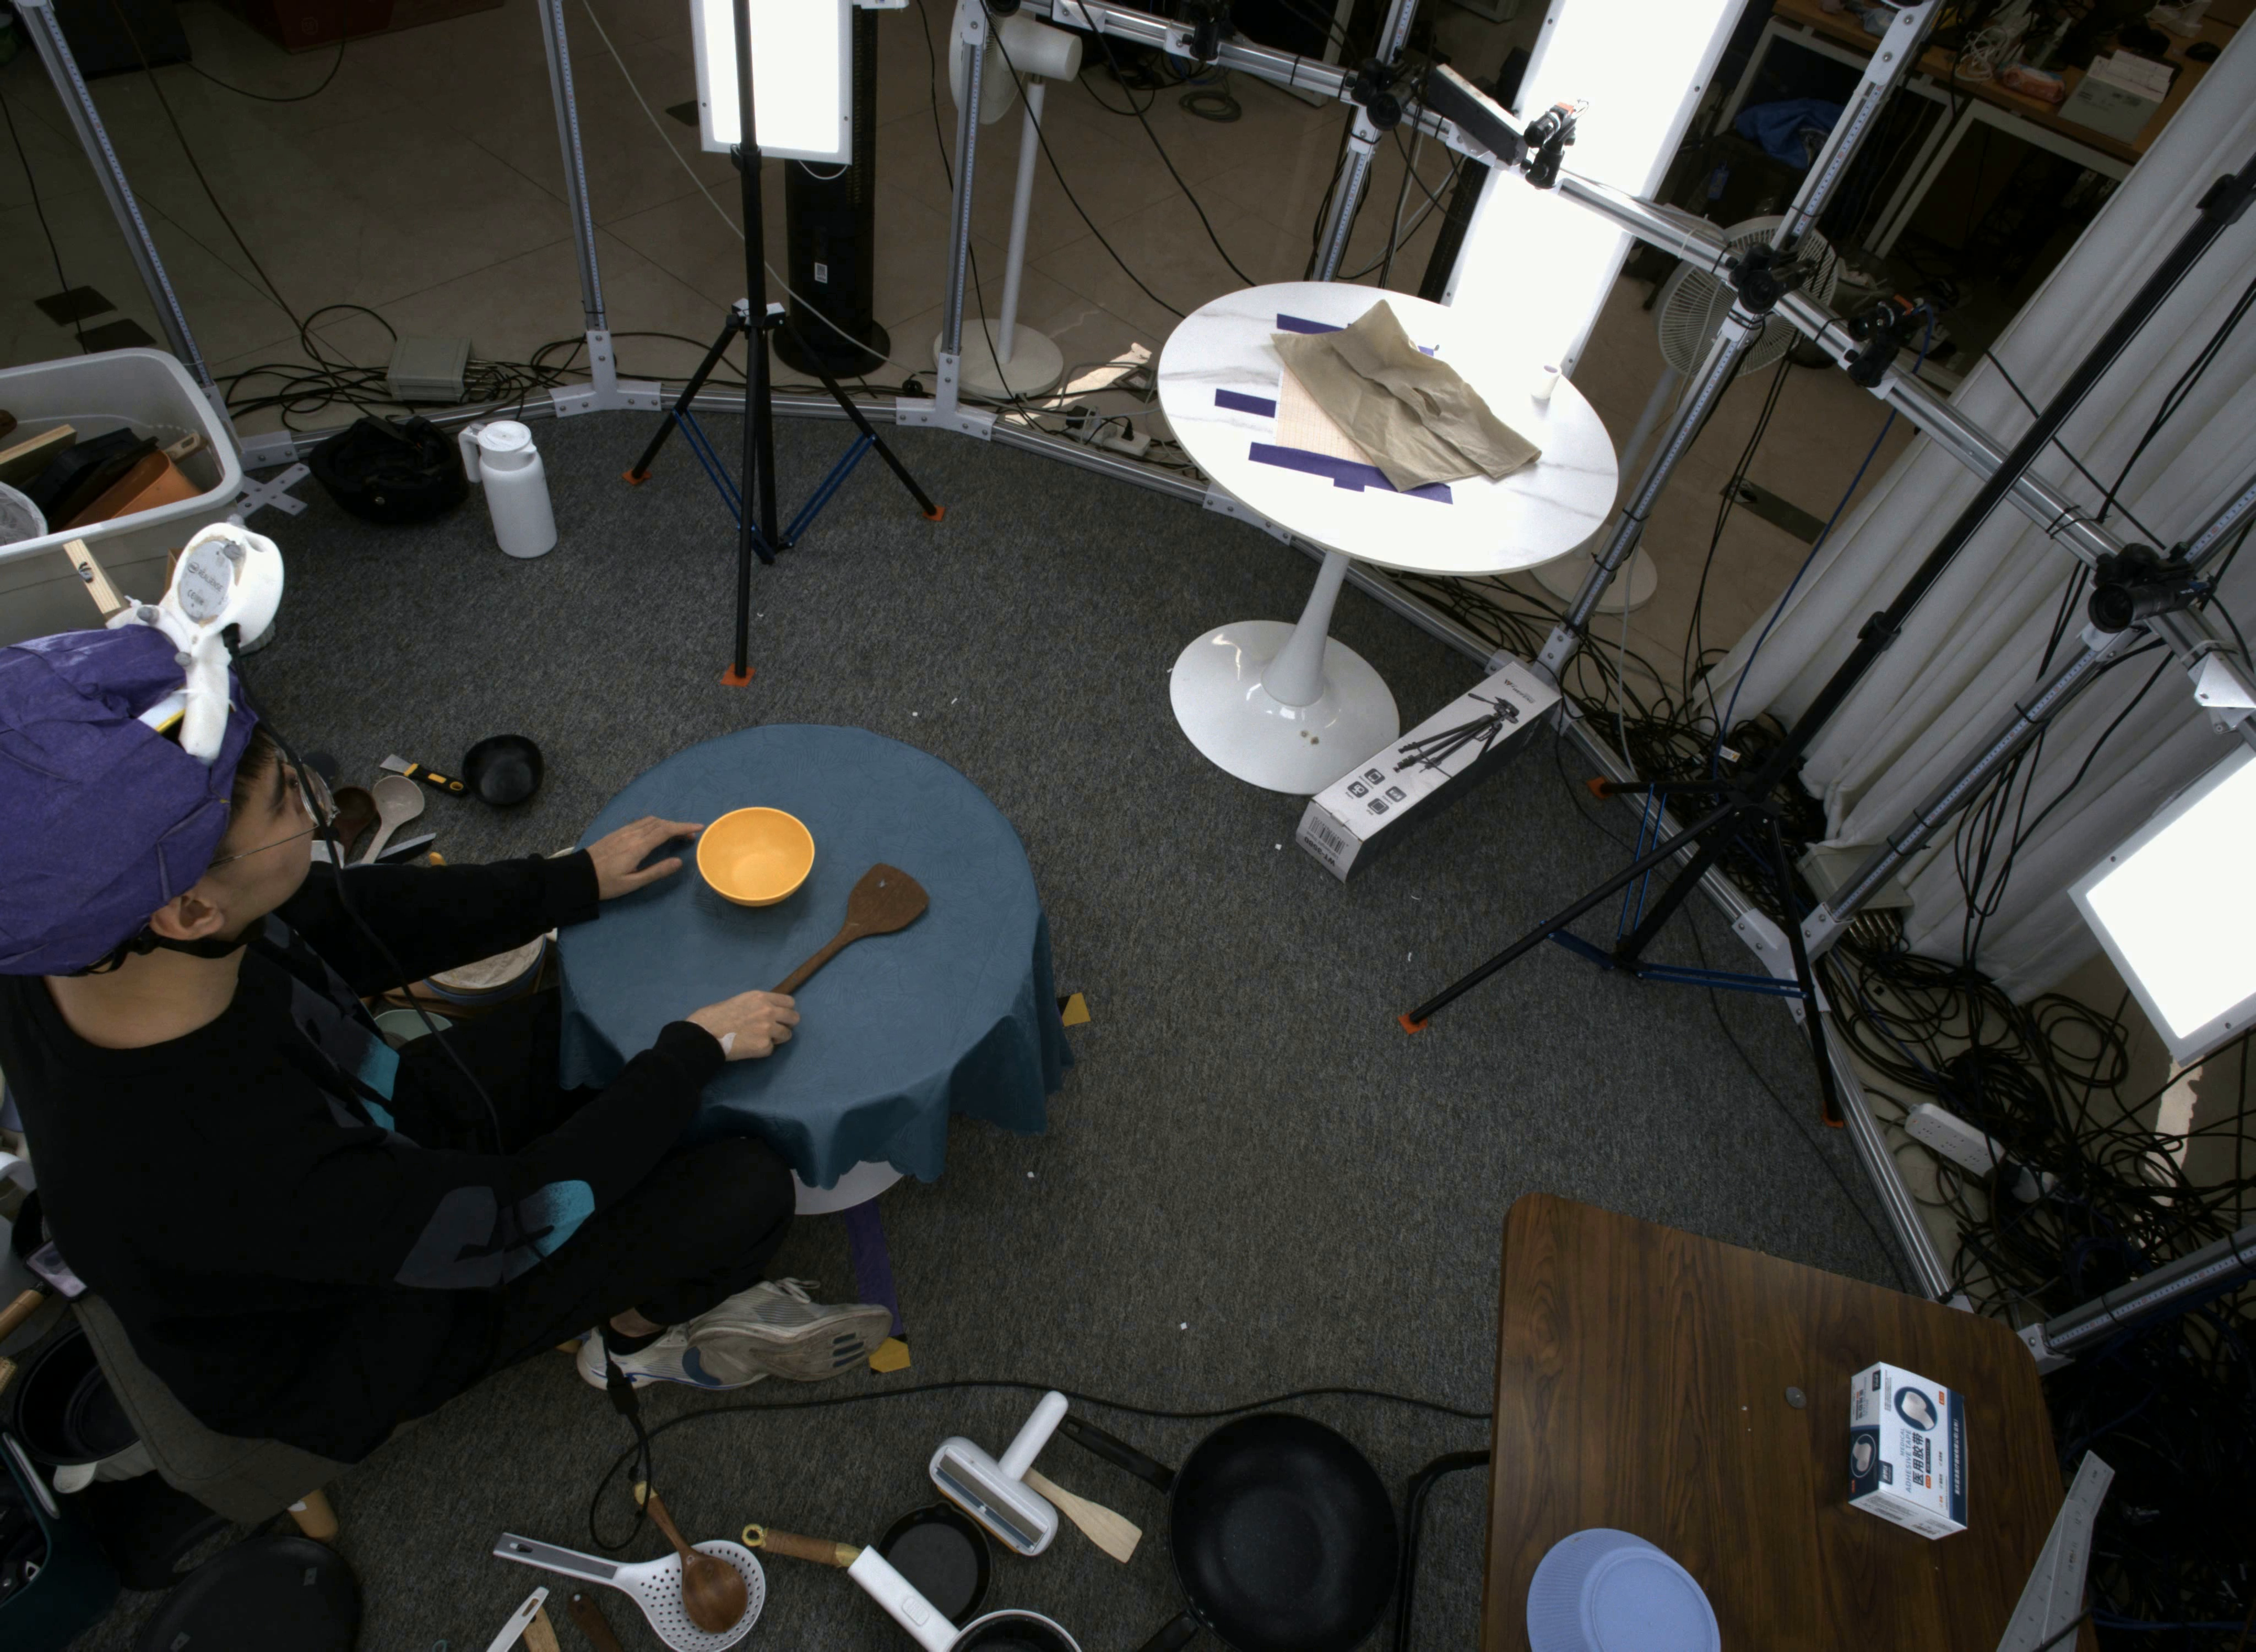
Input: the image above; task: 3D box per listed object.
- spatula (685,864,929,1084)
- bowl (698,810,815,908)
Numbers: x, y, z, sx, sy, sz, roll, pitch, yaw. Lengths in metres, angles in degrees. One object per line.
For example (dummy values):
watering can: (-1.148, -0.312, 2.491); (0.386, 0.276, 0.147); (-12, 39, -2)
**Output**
spatula: (-0.396, 0.178, 1.594); (0.094, 0.016, 0.386); (36, 53, 13)
bowl: (-0.469, 0.052, 1.644); (0.144, 0.061, 0.142); (6, 52, -6)
